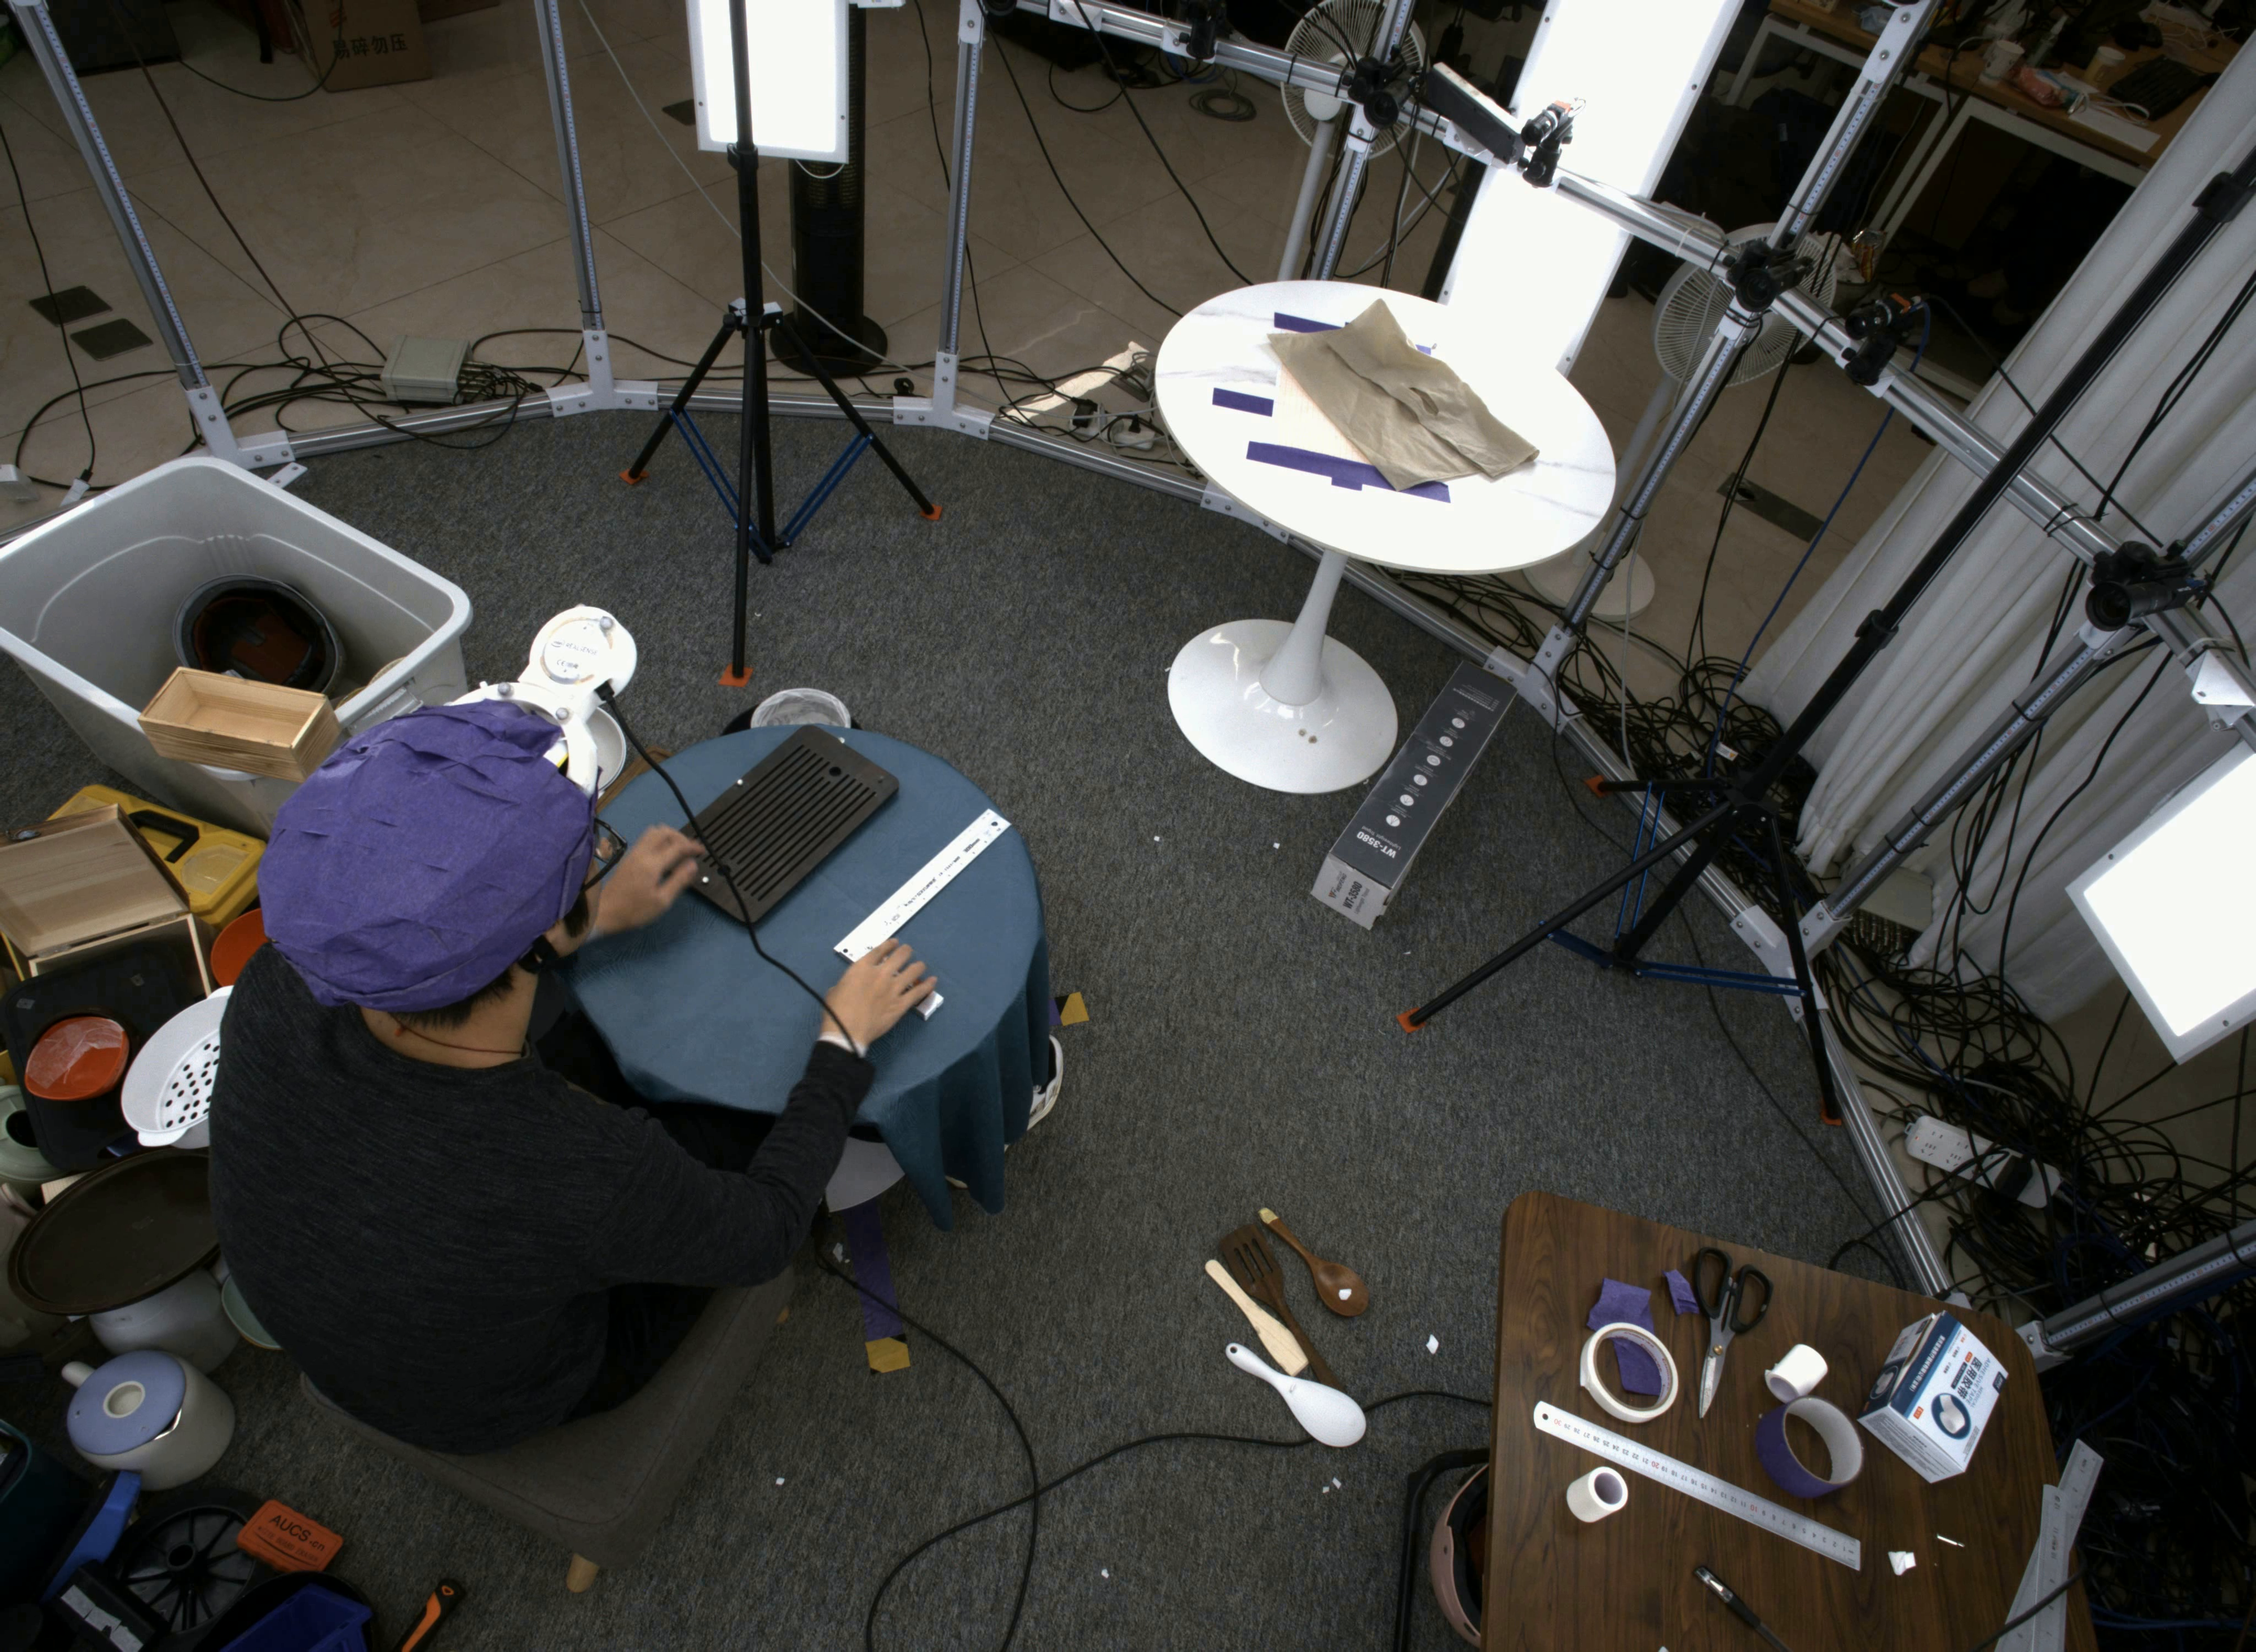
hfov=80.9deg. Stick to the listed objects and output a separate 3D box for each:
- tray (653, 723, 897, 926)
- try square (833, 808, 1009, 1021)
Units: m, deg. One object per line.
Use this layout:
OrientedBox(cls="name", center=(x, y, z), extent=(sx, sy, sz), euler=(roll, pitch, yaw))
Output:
OrientedBox(cls="tray", center=(-0.460, -0.008, 1.704), extent=(0.167, 0.019, 0.305), euler=(33, 53, 10))
OrientedBox(cls="try square", center=(-0.222, 0.105, 1.689), extent=(0.149, 0.016, 0.312), euler=(35, 52, 12))
